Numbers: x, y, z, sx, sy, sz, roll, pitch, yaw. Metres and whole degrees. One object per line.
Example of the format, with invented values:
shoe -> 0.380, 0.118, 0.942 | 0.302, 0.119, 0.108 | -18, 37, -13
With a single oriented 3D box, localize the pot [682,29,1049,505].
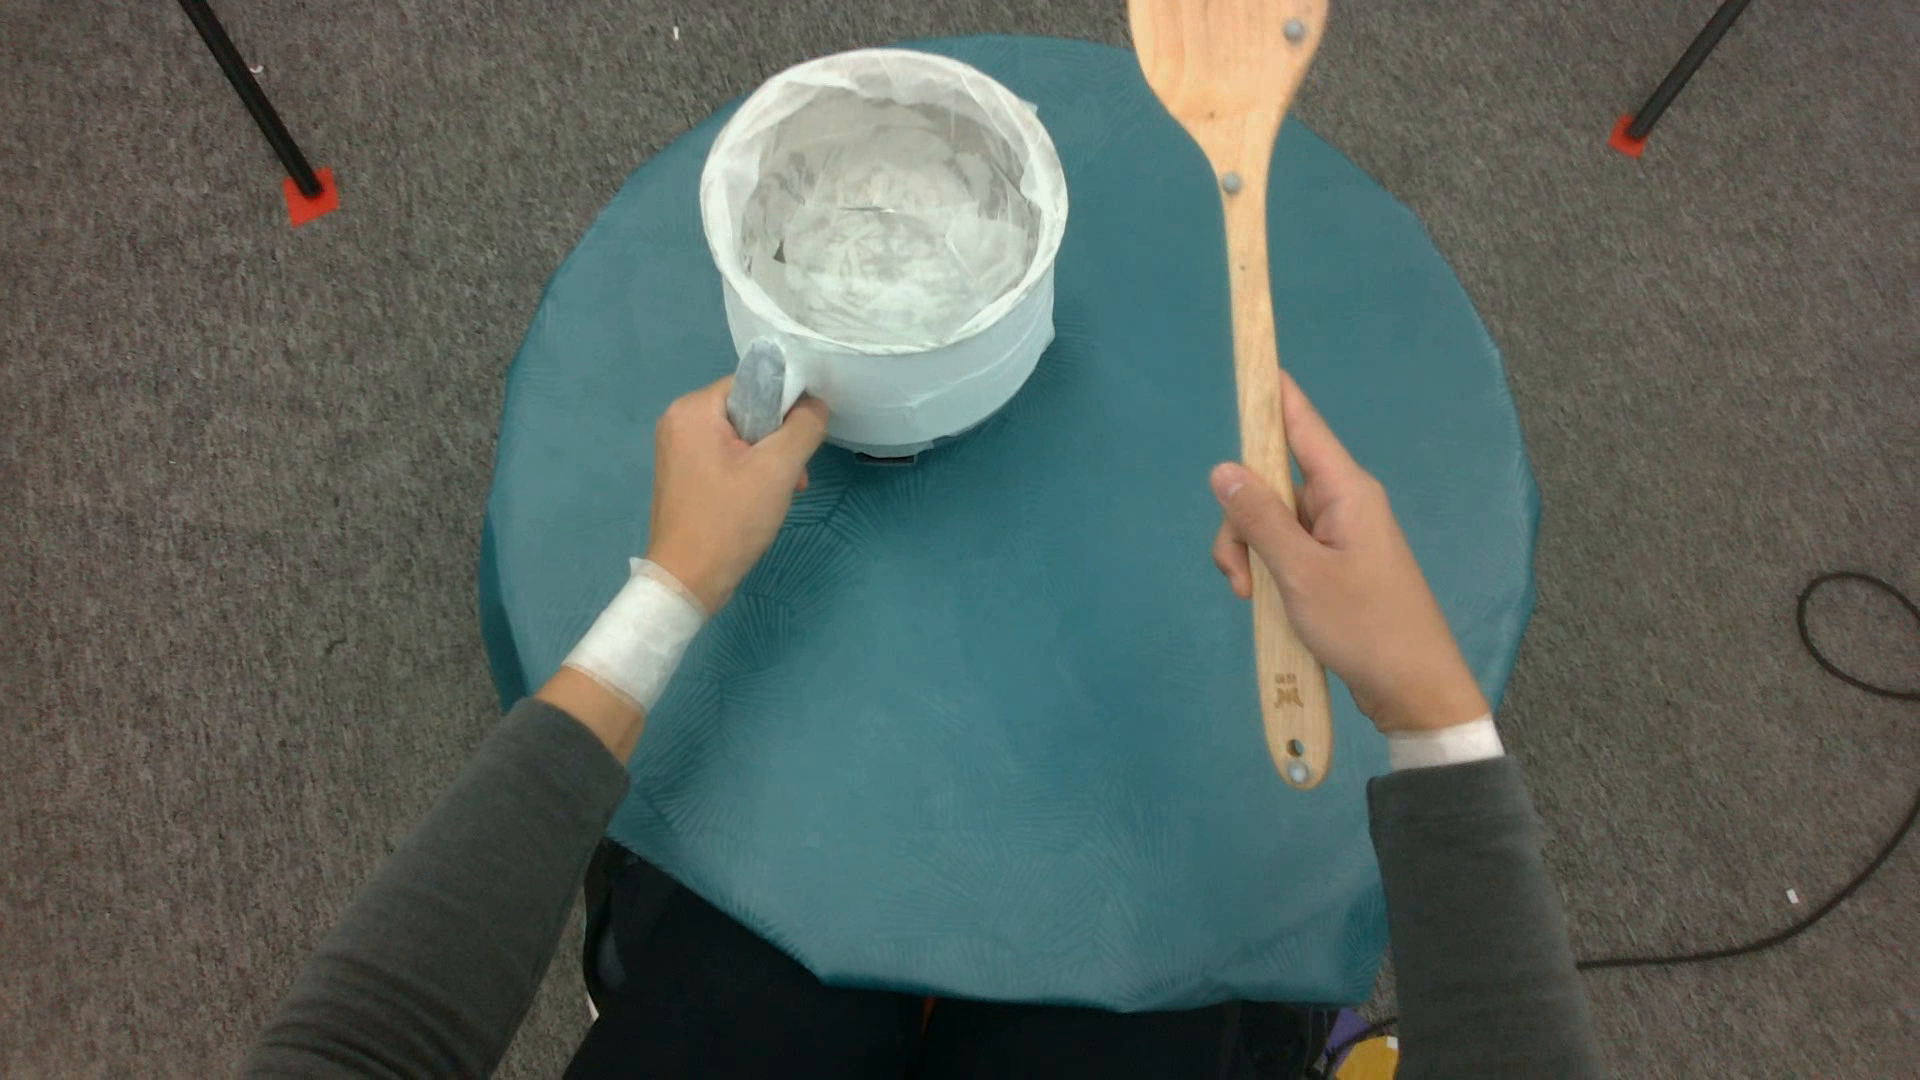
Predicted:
pot -> -0.059, -0.129, 0.710 | 0.178, 0.136, 0.234 | 28, 71, 11

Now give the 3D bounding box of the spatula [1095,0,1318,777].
spatula -> 0.120, -0.092, 0.593 | 0.018, 0.095, 0.391 | -5, 88, -48
